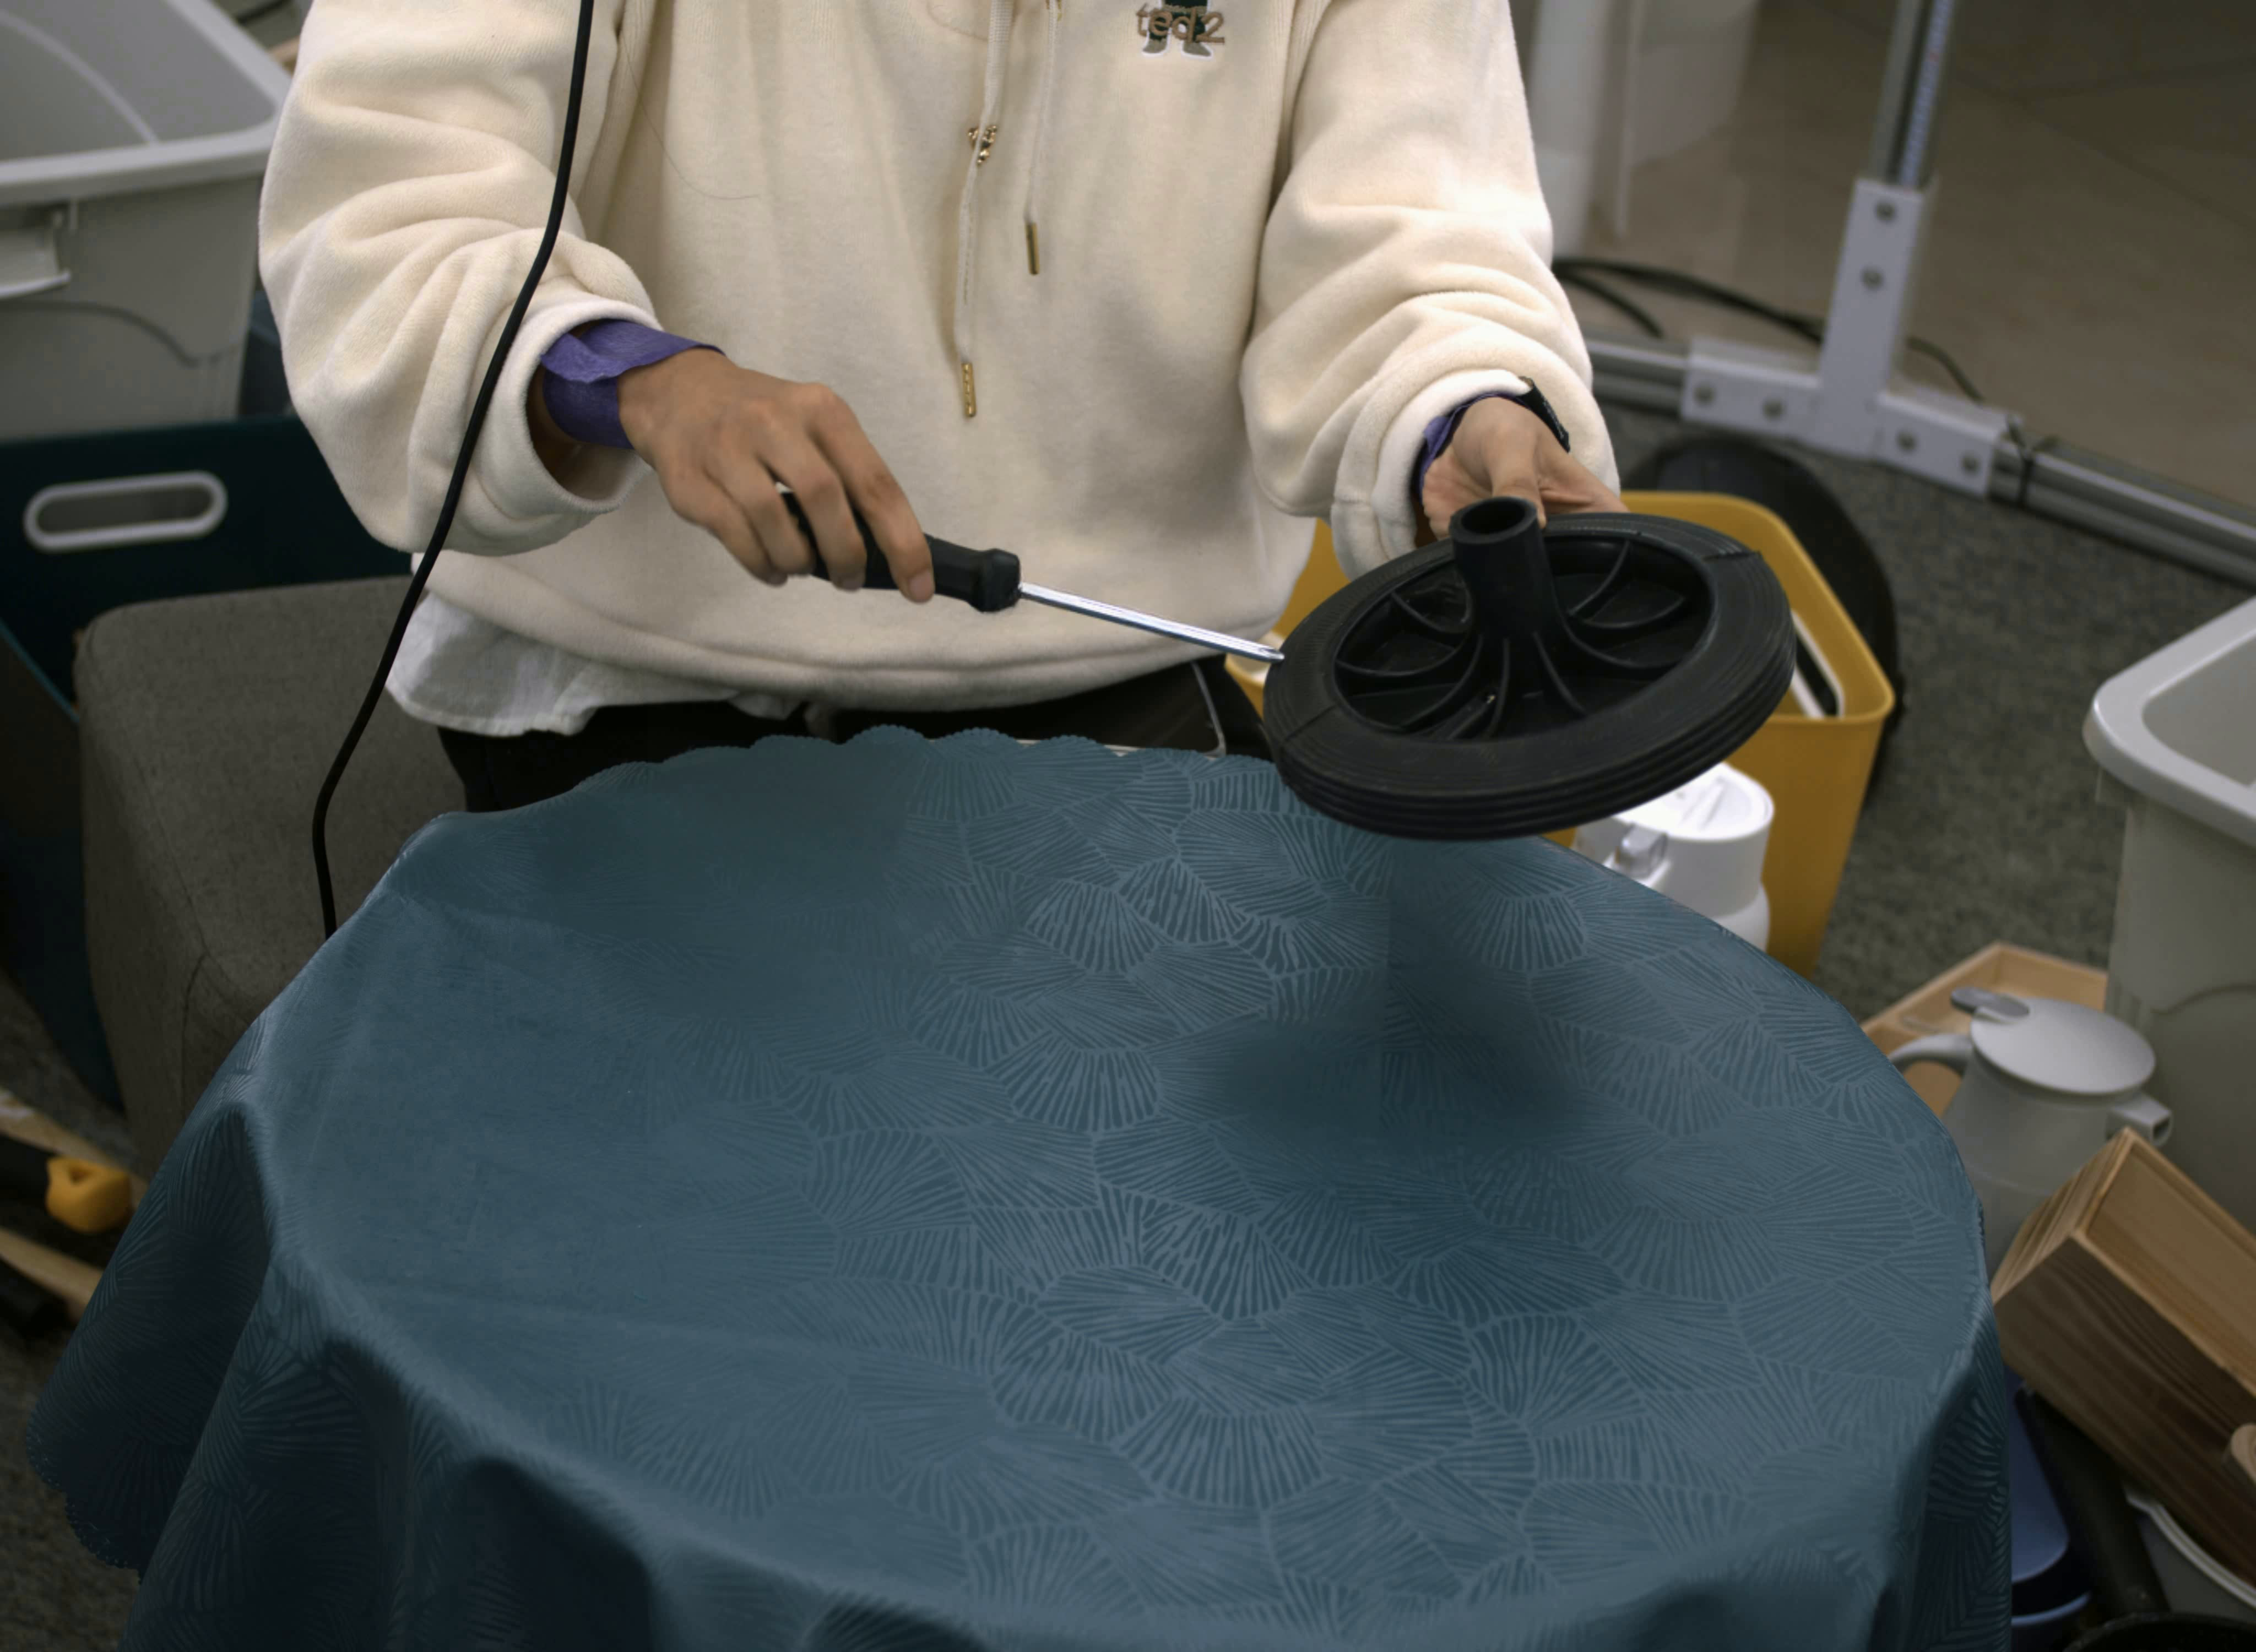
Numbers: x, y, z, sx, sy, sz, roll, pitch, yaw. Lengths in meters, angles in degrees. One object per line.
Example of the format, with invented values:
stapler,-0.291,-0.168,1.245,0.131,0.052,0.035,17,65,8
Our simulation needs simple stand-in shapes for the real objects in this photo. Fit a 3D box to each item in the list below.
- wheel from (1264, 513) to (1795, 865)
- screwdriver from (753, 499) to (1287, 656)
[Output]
wheel,0.134,-0.067,1.849,0.188,0.078,0.190,-3,35,21
screwdriver,-0.038,-0.086,1.897,0.196,0.031,0.031,12,27,3
